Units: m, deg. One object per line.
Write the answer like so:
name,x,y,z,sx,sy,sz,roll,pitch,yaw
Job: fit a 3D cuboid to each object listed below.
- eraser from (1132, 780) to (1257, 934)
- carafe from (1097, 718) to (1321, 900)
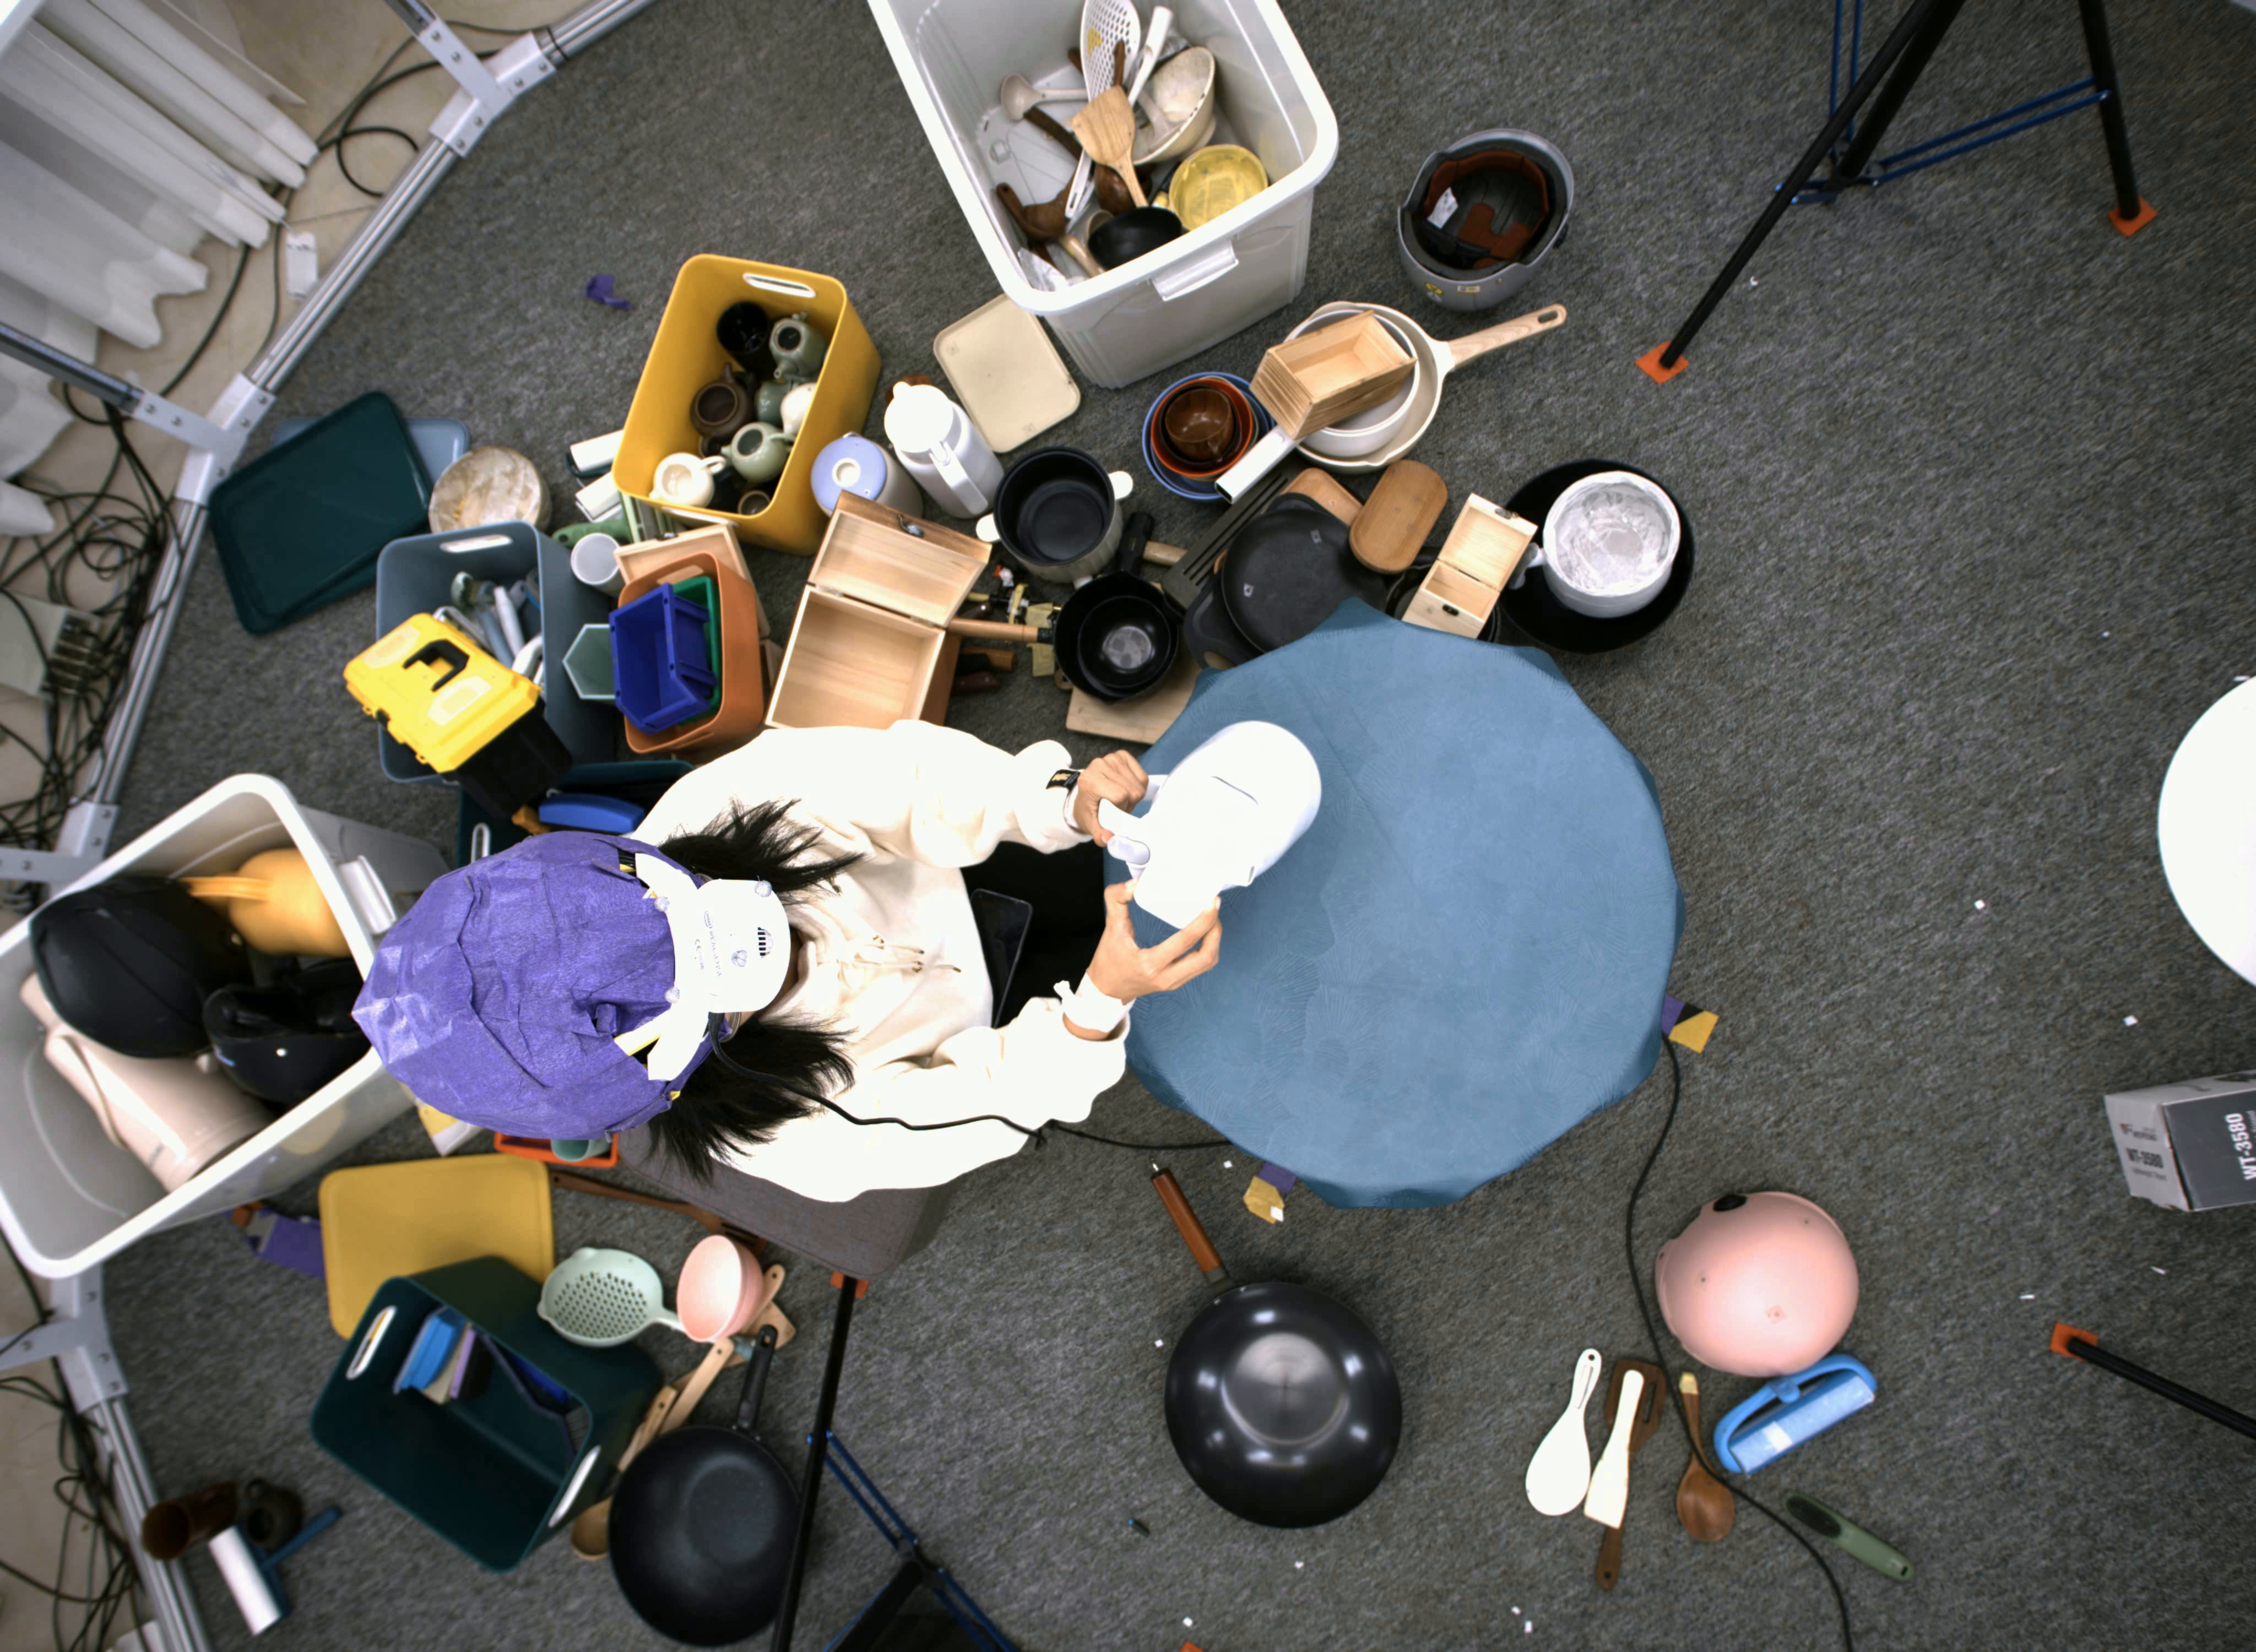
eraser,0.053,0.025,1.136,0.063,0.034,0.134,32,119,4
carafe,0.065,-0.012,1.272,0.168,0.244,0.135,16,114,18
